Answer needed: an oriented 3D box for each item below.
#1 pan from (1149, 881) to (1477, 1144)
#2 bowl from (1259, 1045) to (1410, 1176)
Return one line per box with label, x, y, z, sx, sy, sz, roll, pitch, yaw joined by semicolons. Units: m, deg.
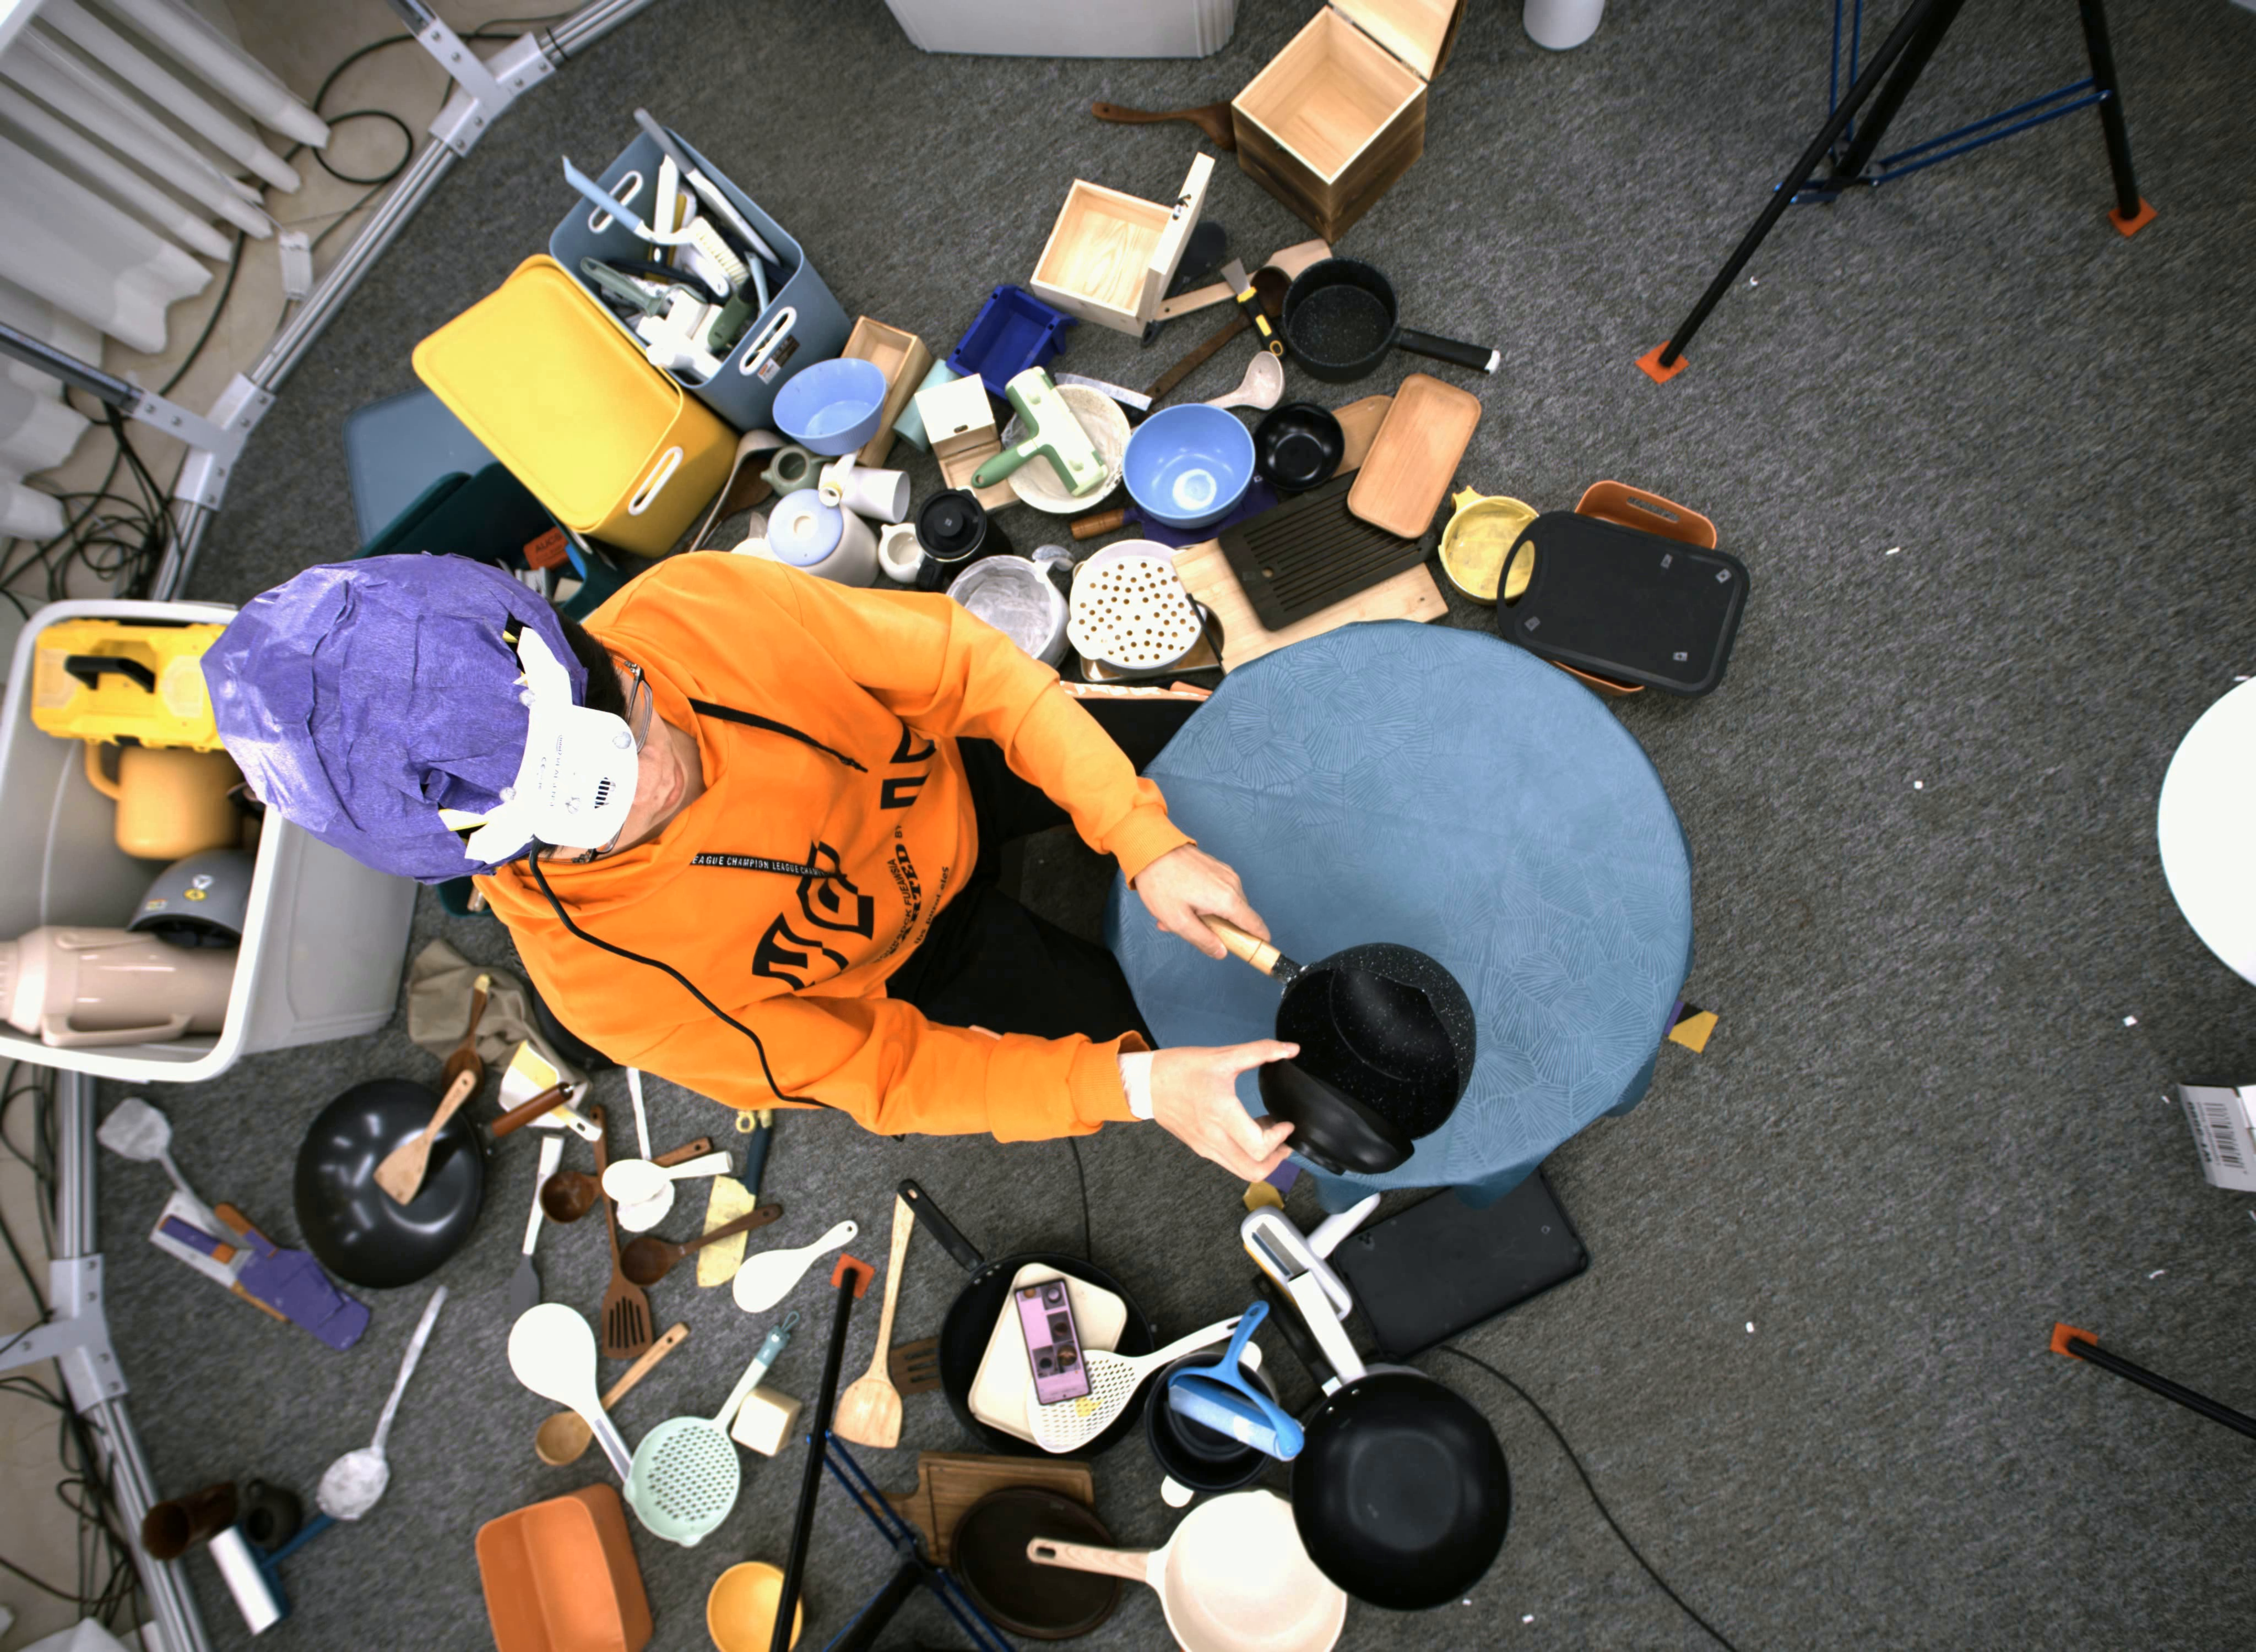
pan;0.173;0.149;1.303;0.341;0.106;0.213;39;132;11
bowl;0.175;0.264;1.236;0.169;0.138;0.067;33;89;46
